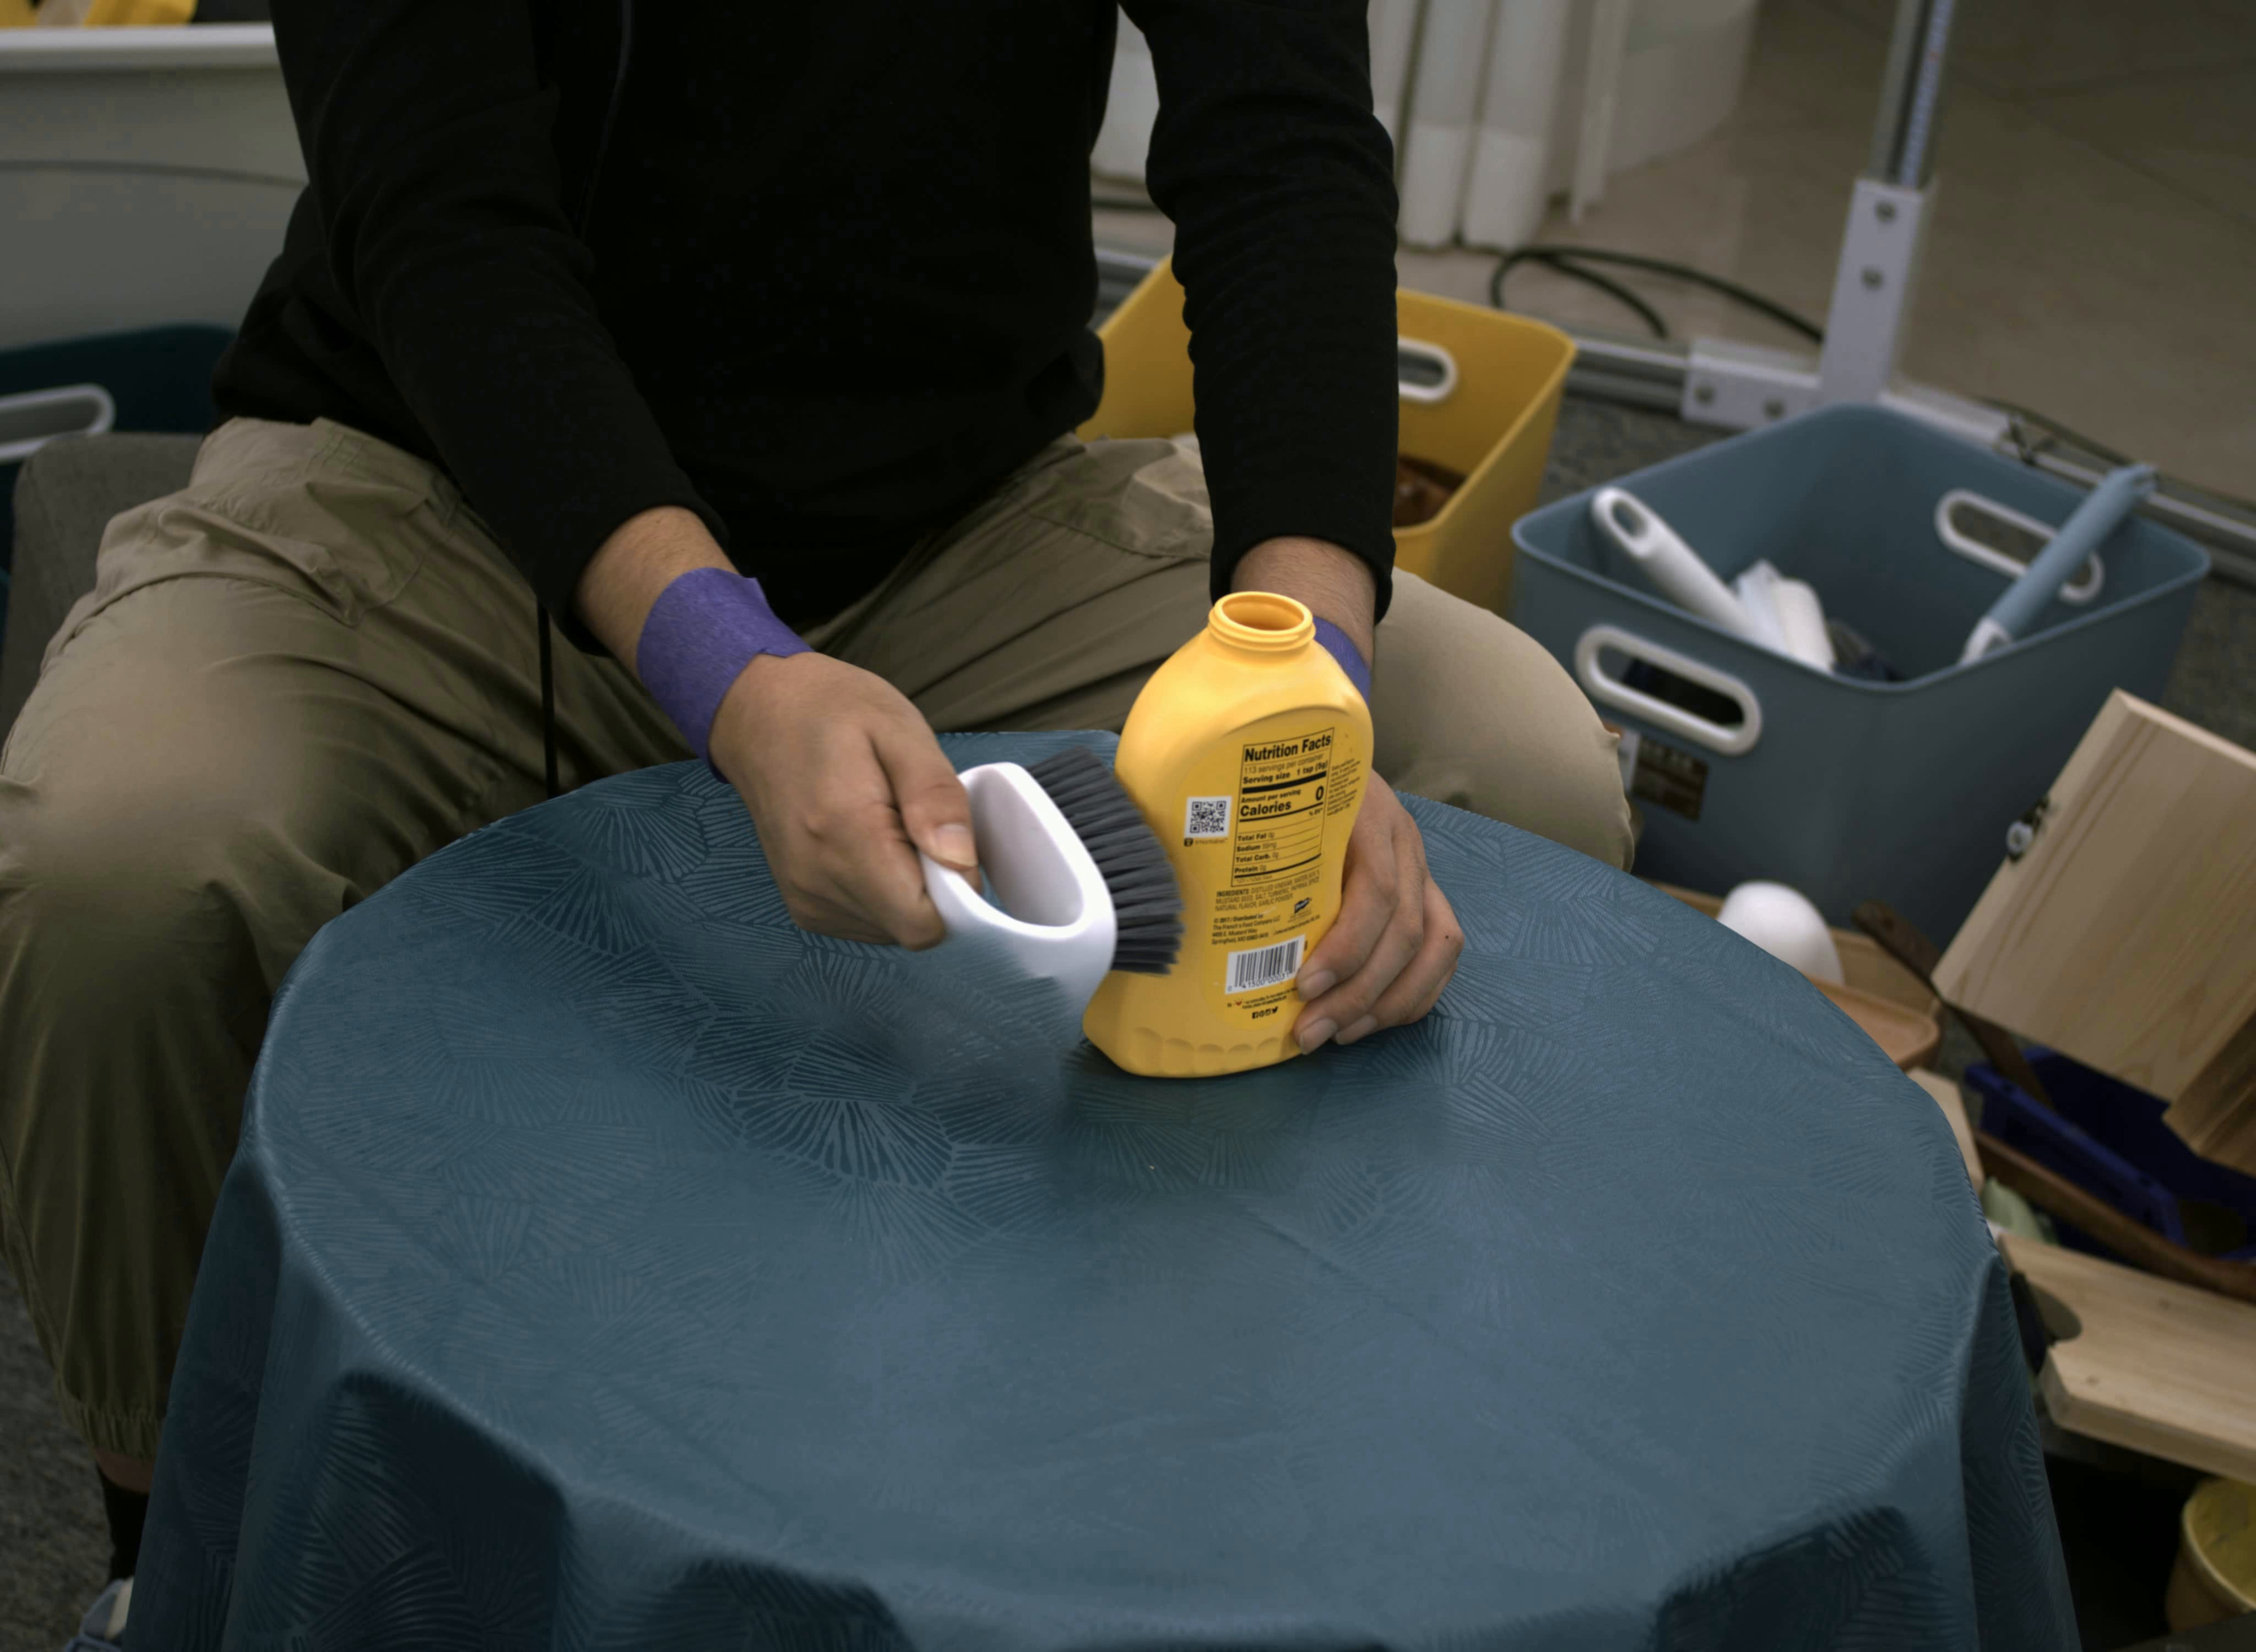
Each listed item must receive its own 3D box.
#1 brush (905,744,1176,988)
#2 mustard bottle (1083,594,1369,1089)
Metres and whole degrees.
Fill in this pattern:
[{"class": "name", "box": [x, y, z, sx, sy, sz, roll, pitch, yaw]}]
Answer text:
[{"class": "brush", "box": [-0.036, 0.016, 1.818, 0.072, 0.050, 0.100, -9, 43, -26]}, {"class": "mustard bottle", "box": [0.036, 0.004, 1.860, 0.097, 0.171, 0.060, -12, 28, -32]}]
